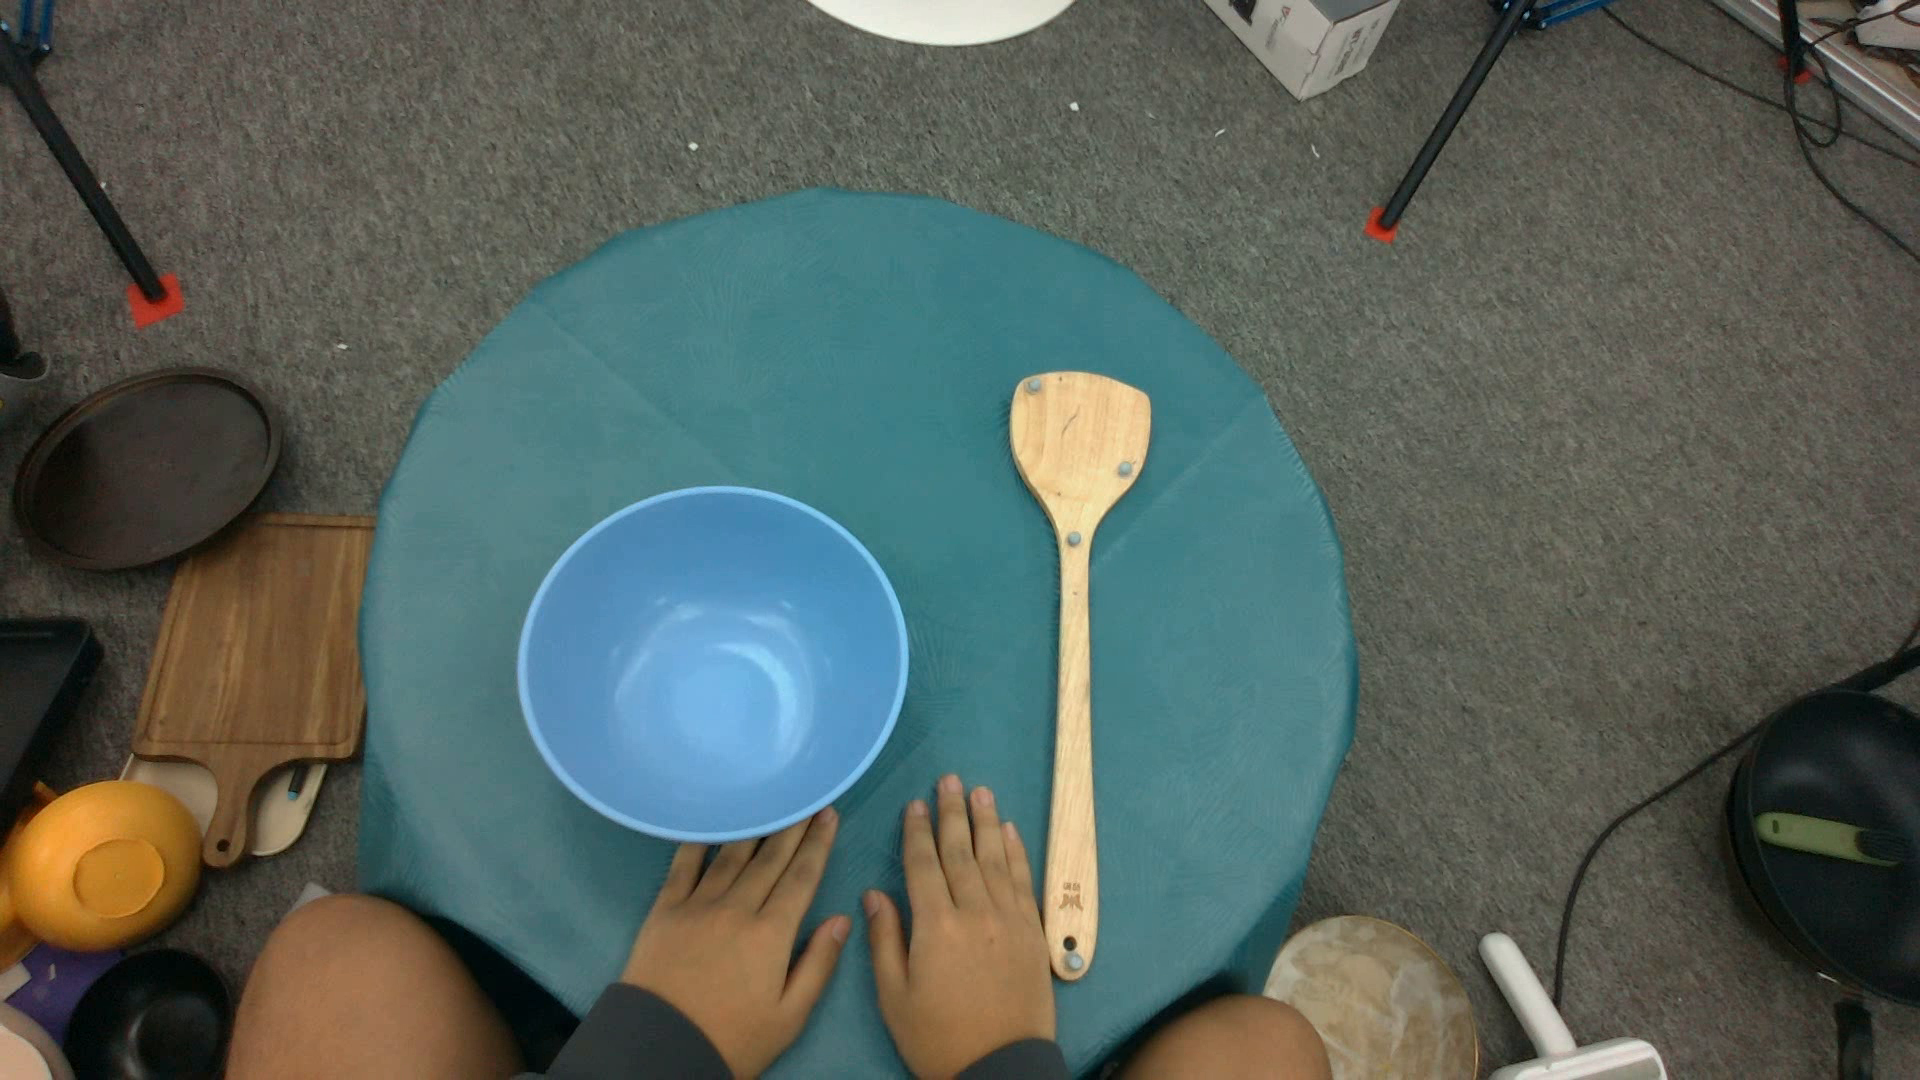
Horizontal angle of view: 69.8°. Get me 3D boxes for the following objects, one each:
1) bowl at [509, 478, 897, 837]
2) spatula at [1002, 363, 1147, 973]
[{"bbox_3d":[-0.138,0.074,0.746,0.196,0.095,0.197,5,61,-10],"label":"bowl"},{"bbox_3d":[0.068,0.059,0.830,0.096,0.018,0.392,5,62,-5],"label":"spatula"}]
